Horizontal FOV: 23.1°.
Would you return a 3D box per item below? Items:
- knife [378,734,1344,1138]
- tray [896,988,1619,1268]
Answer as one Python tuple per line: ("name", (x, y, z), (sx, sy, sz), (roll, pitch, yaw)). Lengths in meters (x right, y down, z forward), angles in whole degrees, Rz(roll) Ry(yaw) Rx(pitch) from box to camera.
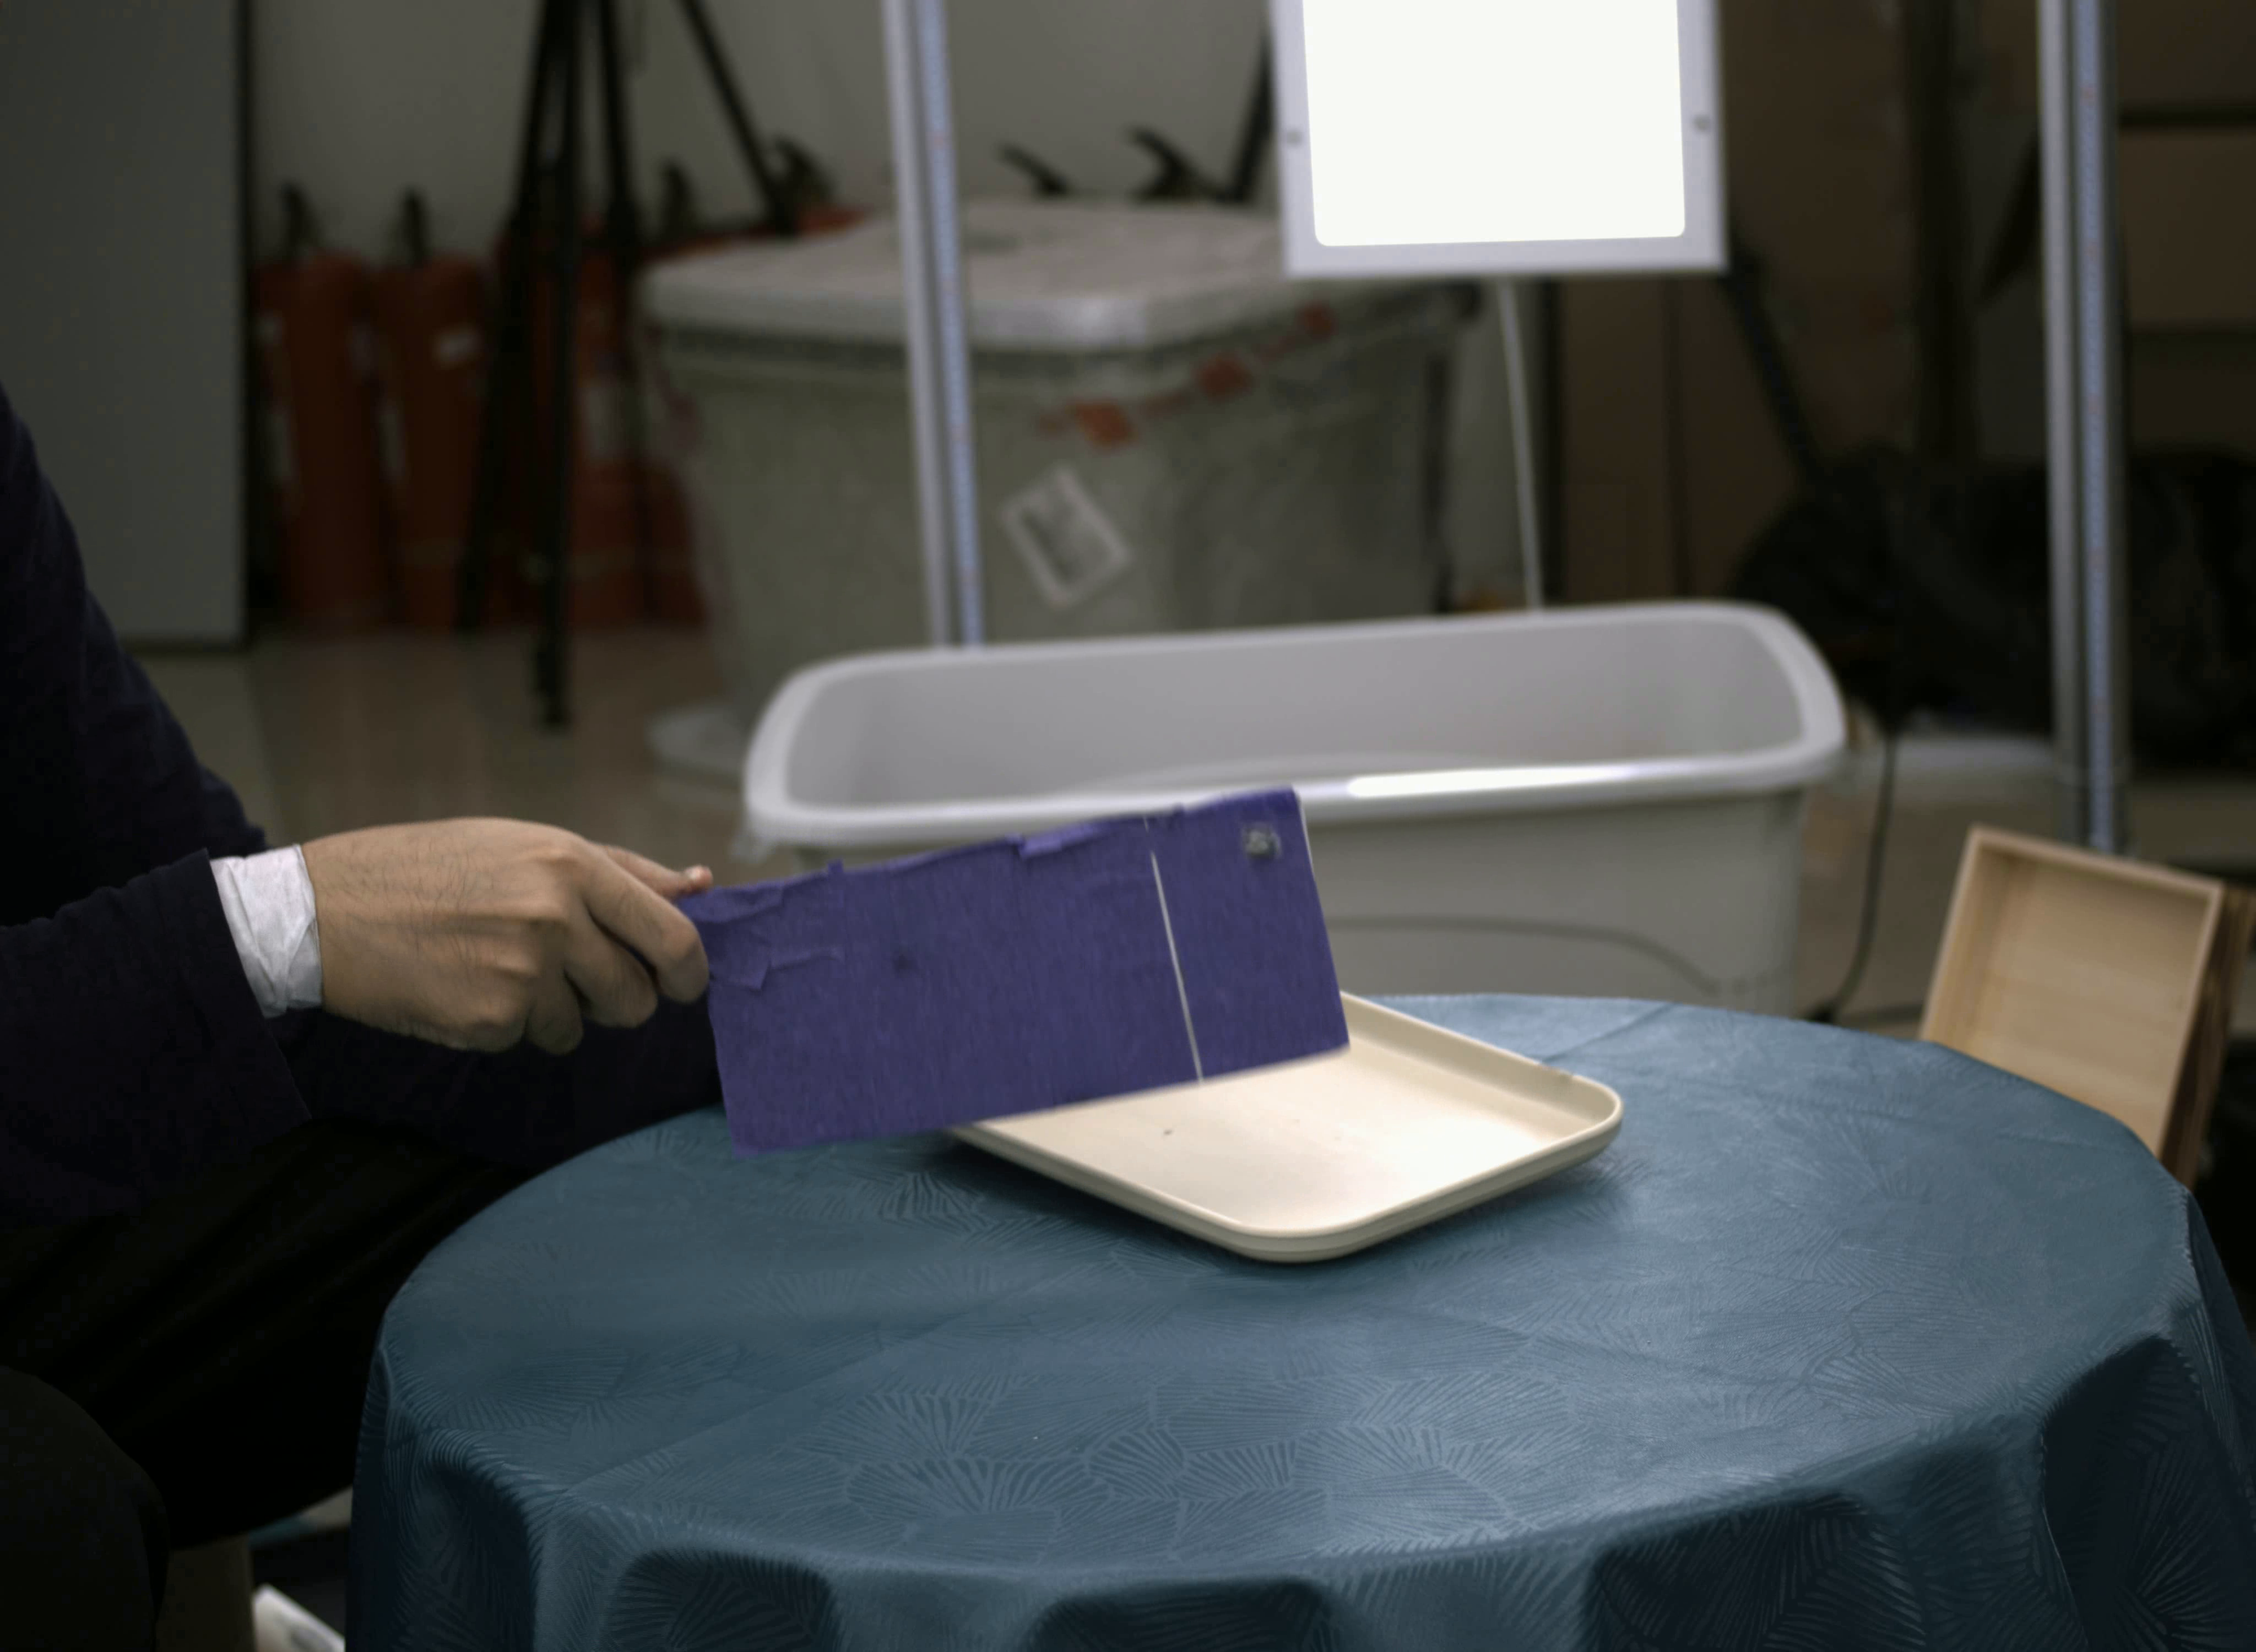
("knife", (-0.088, 0.050, 1.823), (0.316, 0.104, 0.032), (-12, -3, 5))
("tray", (0.042, 0.100, 1.924), (0.167, 0.017, 0.244), (-18, 22, -32))
